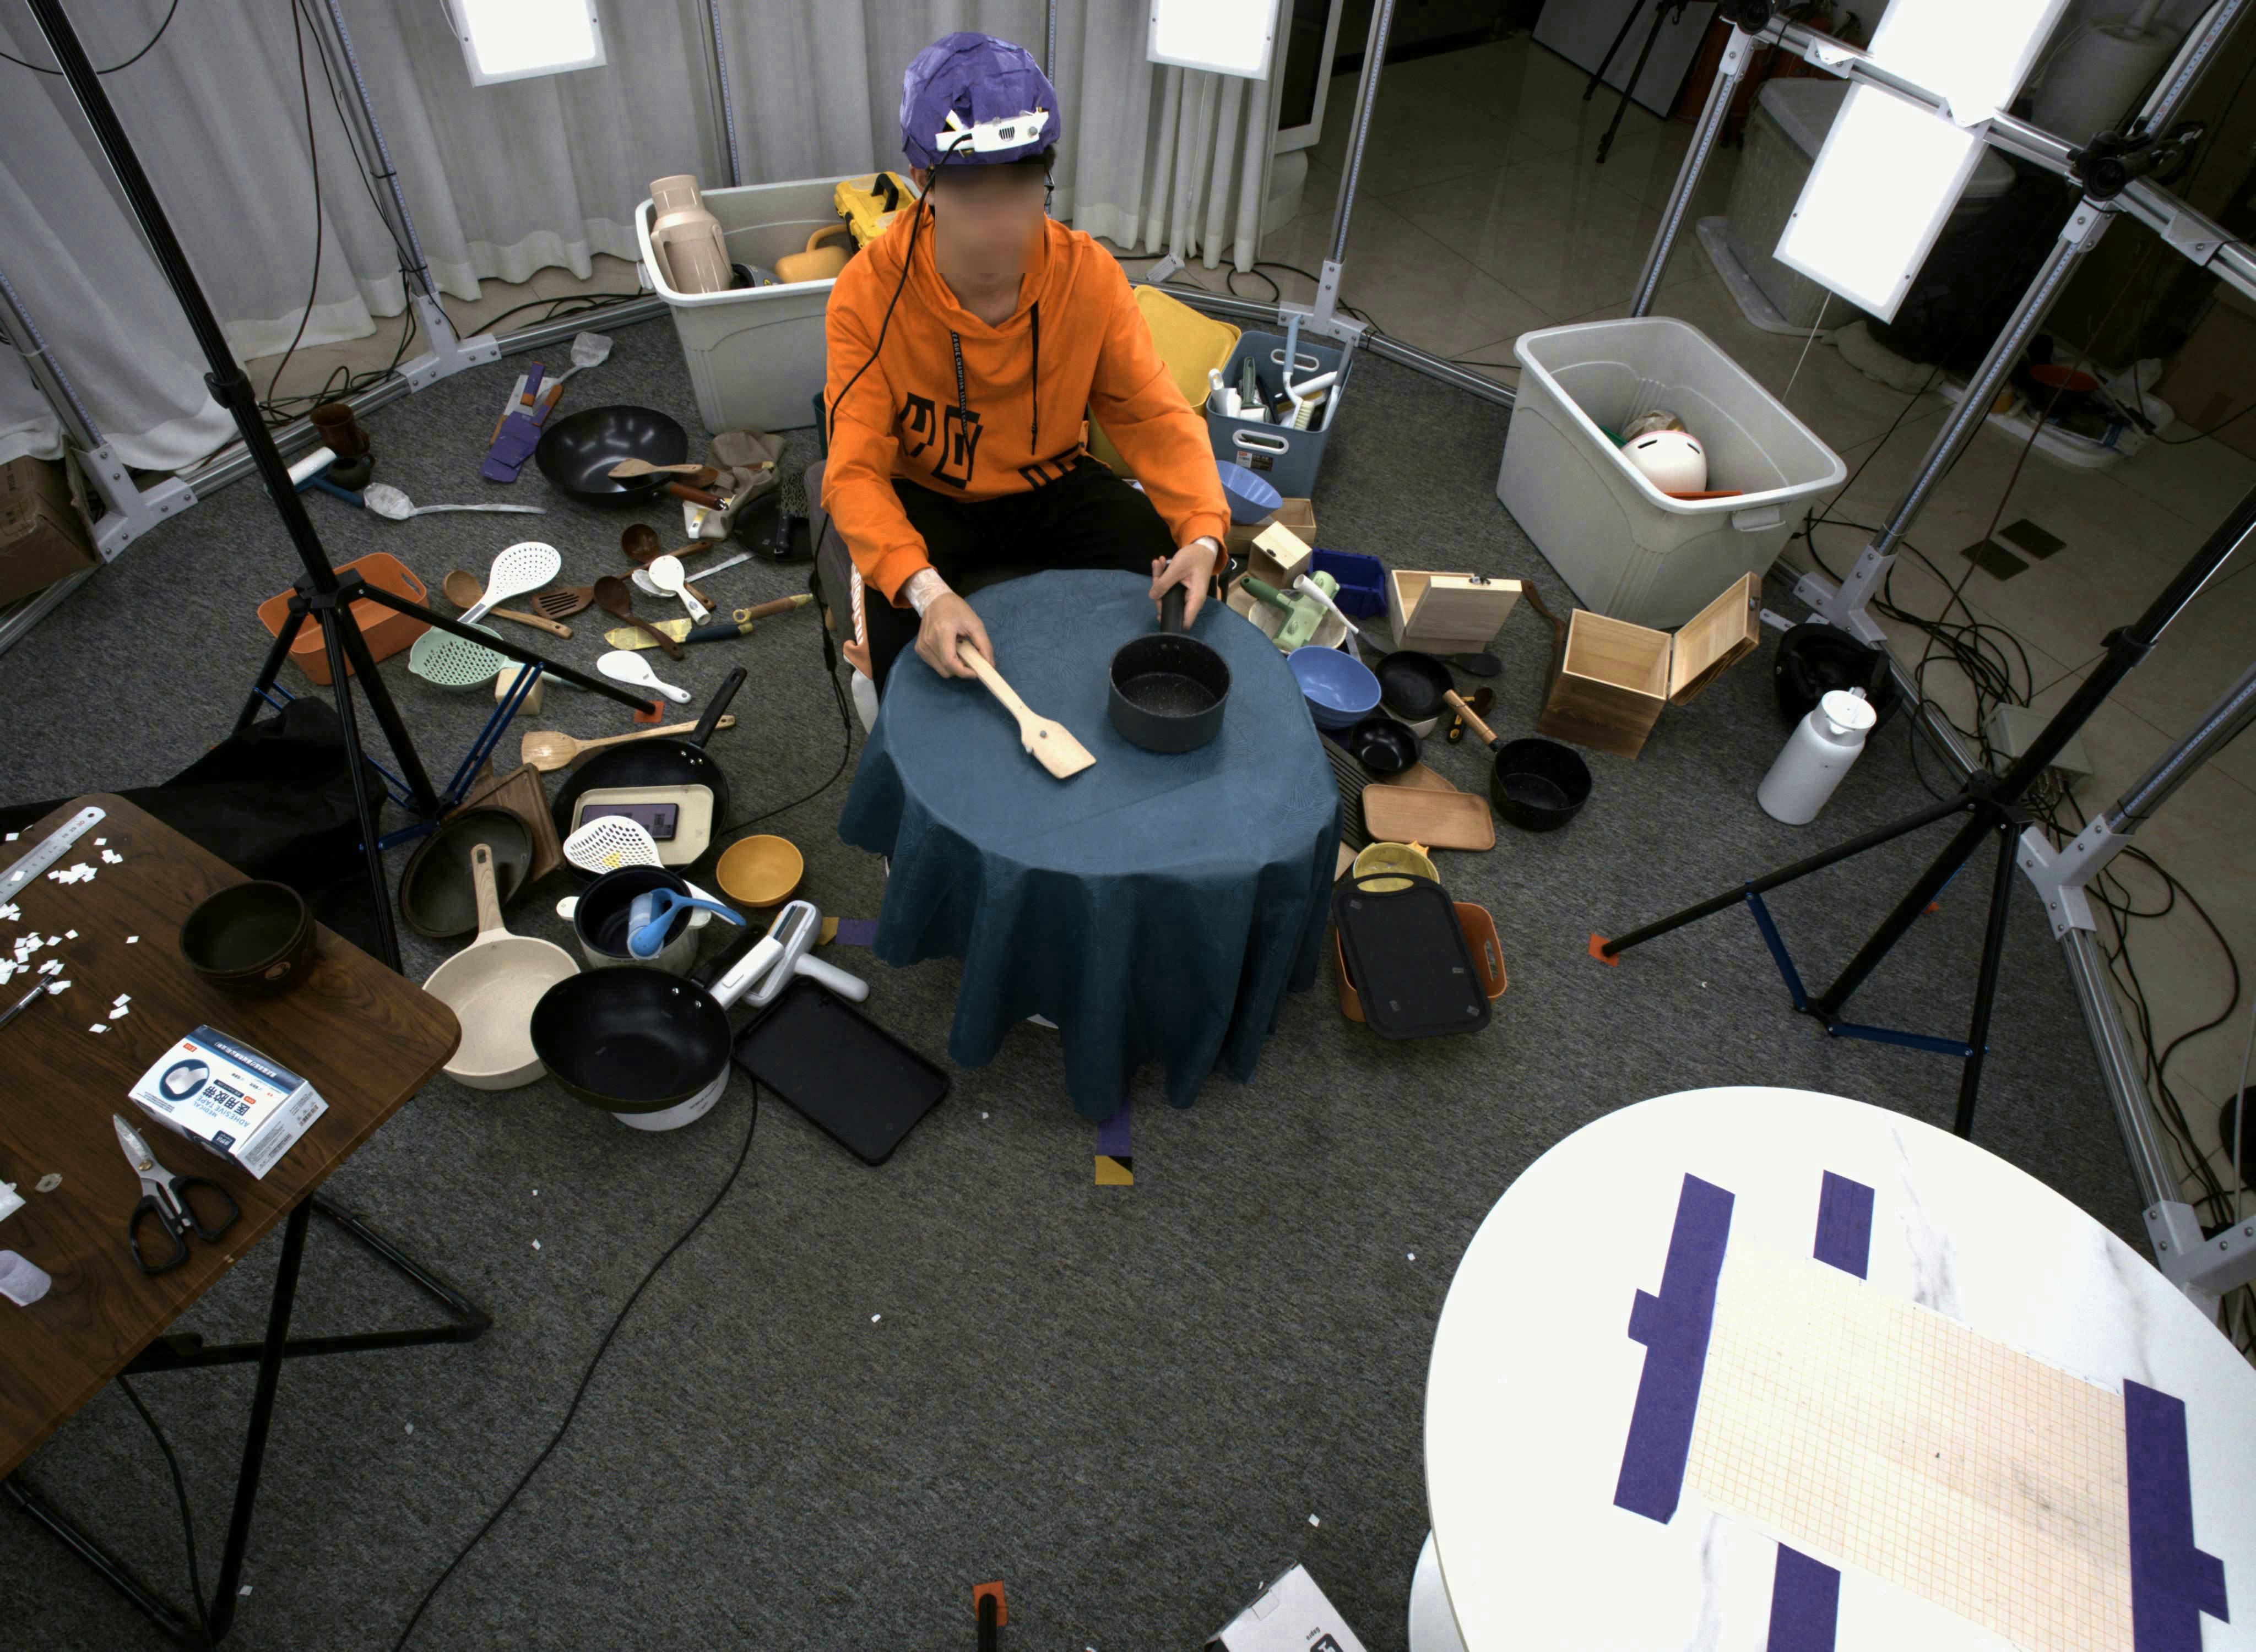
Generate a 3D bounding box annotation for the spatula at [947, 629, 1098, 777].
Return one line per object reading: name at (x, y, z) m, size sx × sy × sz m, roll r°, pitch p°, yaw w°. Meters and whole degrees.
spatula at (-0.157, -0.175, 1.772) m, size 0.072 × 0.010 × 0.297 m, roll -25°, pitch 63°, yaw -38°

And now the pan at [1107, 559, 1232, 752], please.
pan at (0.062, -0.247, 1.834) m, size 0.172 × 0.084 × 0.337 m, roll 7°, pitch 49°, yaw 1°
